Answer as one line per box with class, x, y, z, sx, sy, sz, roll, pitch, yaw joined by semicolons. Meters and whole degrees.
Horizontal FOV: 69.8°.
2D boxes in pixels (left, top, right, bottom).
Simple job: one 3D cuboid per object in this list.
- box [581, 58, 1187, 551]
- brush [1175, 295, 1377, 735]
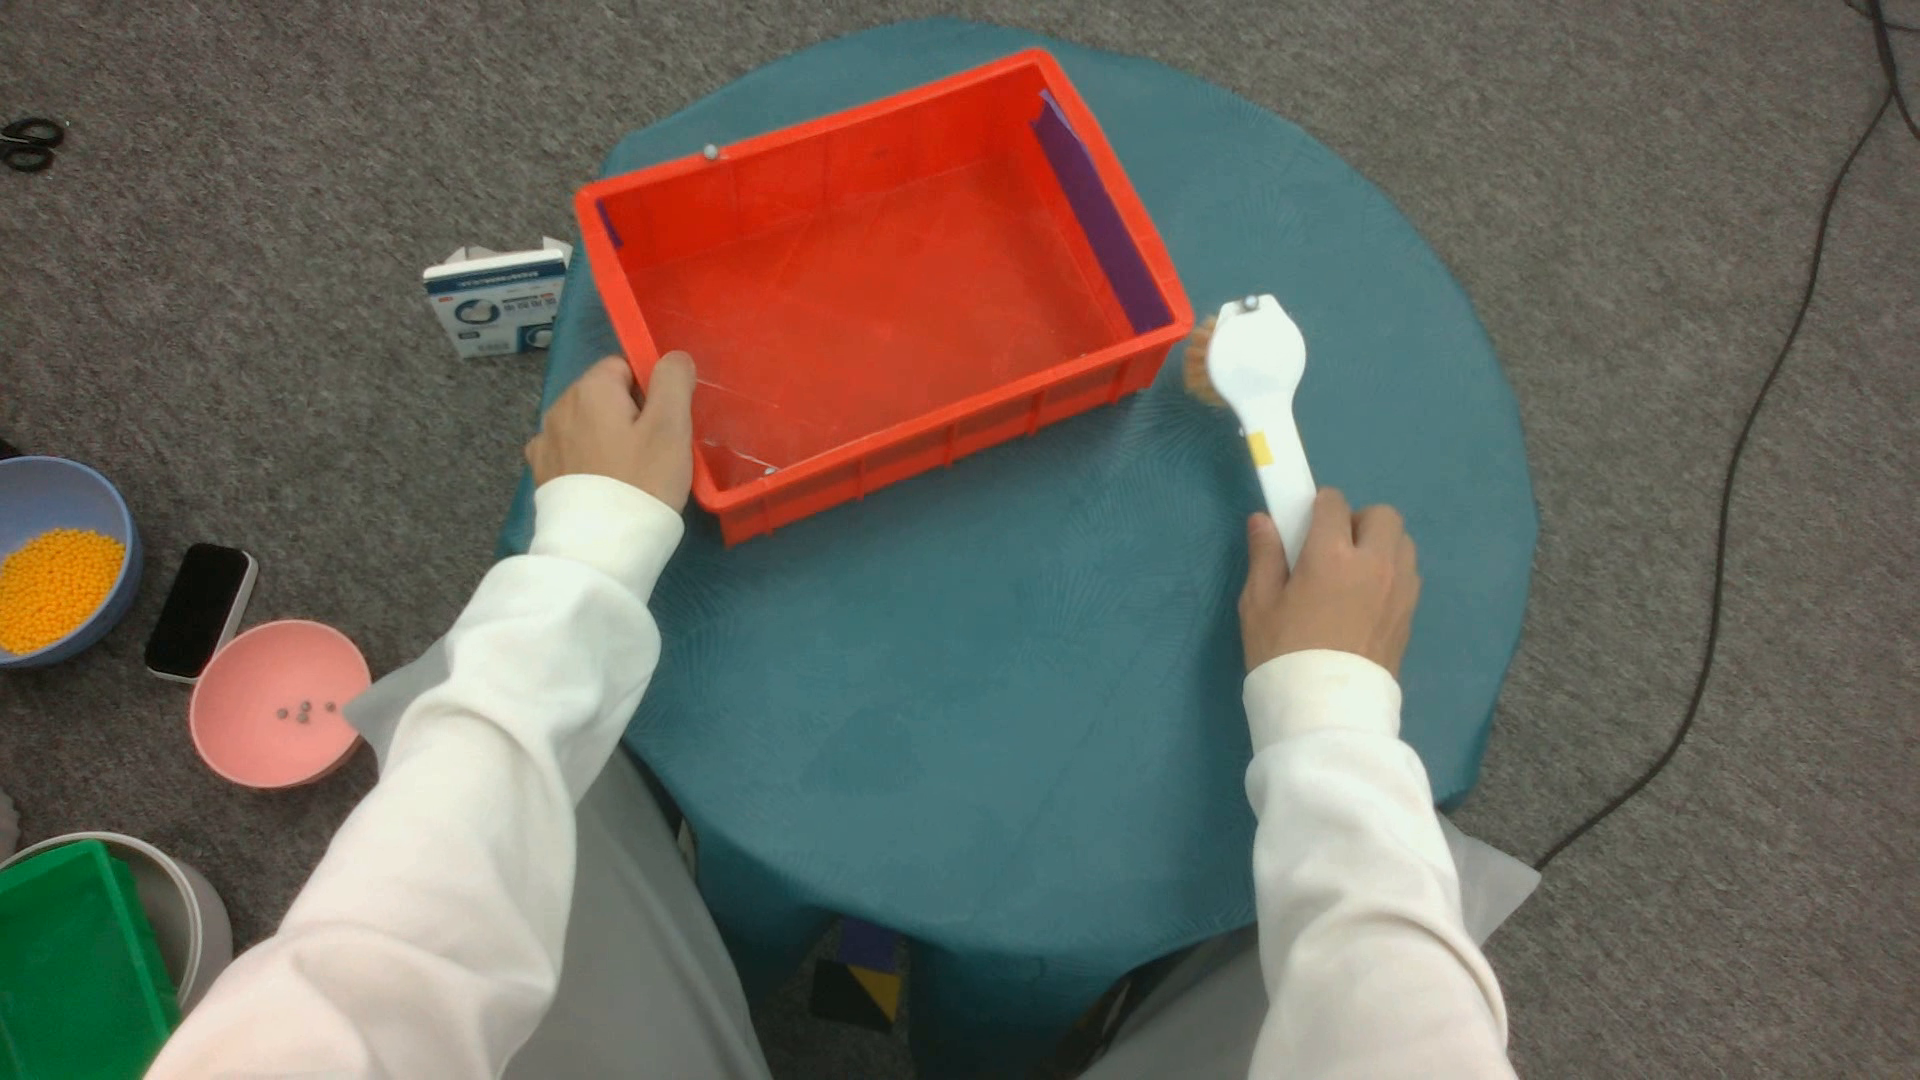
box;-0.044;-0.139;0.817;0.304;0.096;0.207;-23;73;-11
brush;0.189;-0.017;0.810;0.068;0.056;0.266;-16;85;4
